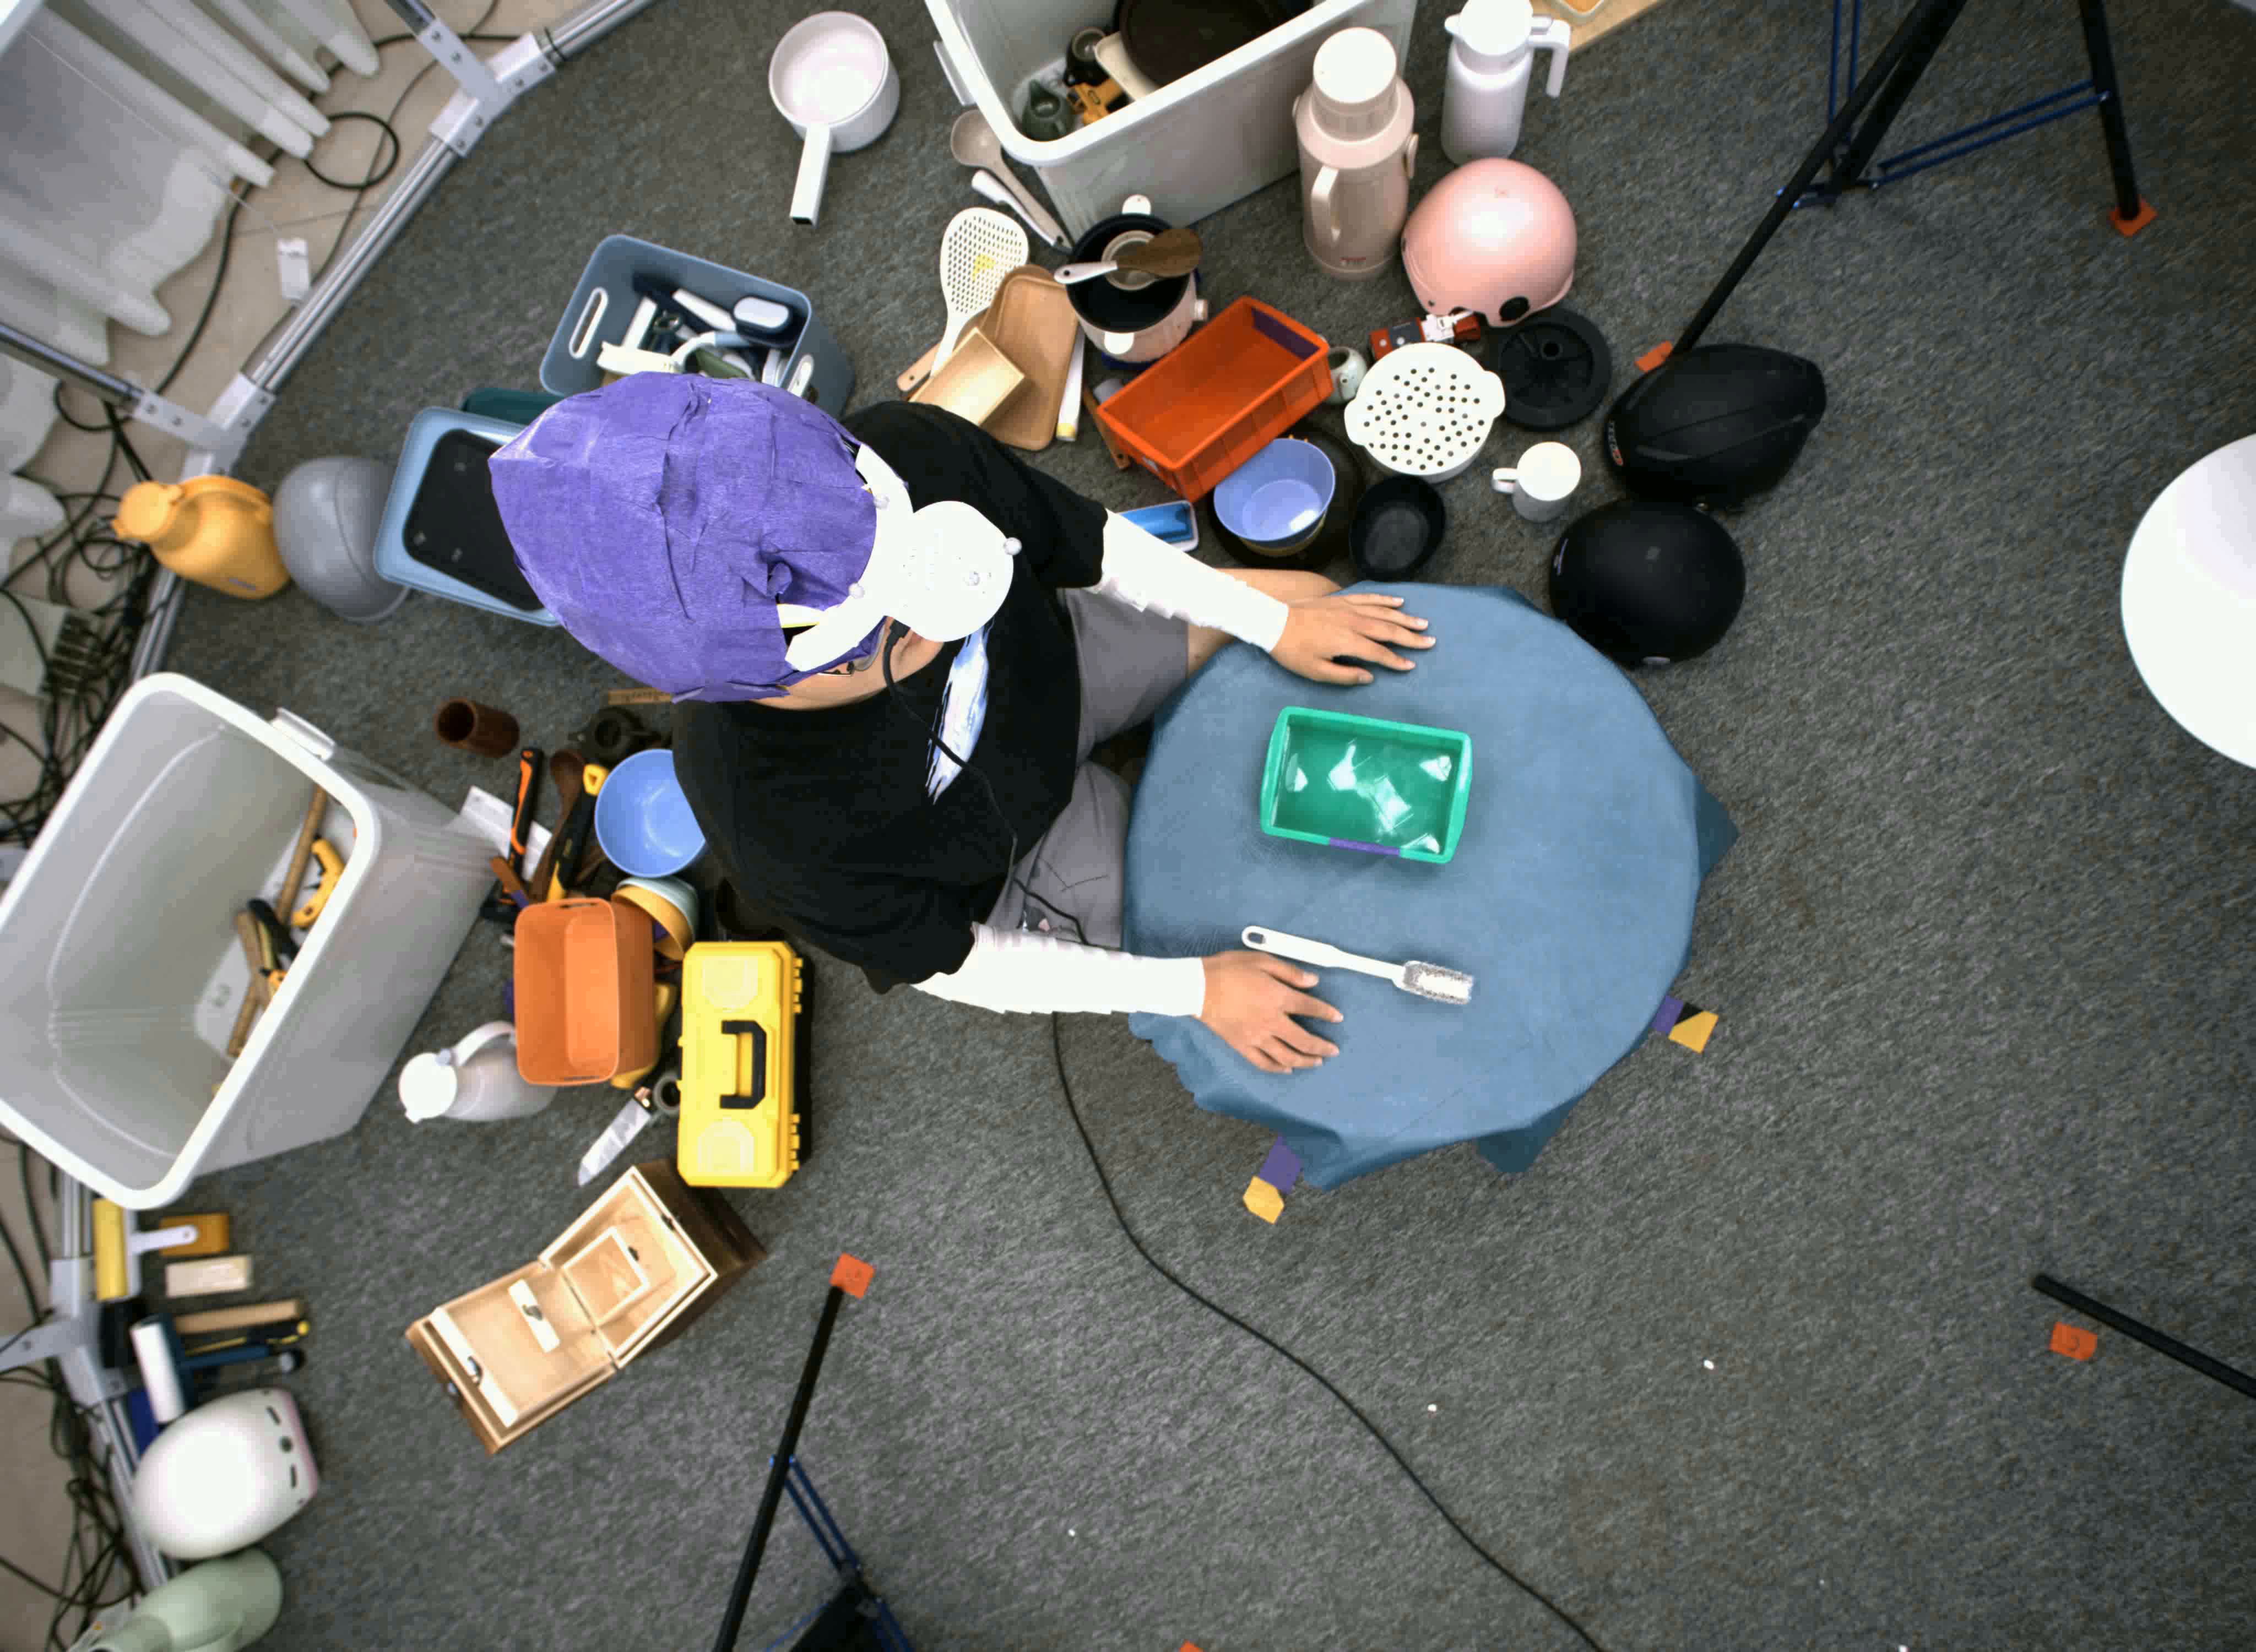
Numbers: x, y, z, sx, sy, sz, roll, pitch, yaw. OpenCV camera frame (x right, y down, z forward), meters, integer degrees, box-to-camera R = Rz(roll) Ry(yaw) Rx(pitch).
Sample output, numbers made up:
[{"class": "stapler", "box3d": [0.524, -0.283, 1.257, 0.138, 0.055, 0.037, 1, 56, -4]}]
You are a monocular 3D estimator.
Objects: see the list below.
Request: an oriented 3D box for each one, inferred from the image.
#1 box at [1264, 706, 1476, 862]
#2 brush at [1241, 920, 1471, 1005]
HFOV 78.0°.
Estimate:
[{"class": "box", "box3d": [0.251, -0.043, 1.436, 0.211, 0.065, 0.138, 8, 91, 10]}, {"class": "brush", "box3d": [0.233, 0.138, 1.437, 0.244, 0.050, 0.034, 15, 90, 11]}]
